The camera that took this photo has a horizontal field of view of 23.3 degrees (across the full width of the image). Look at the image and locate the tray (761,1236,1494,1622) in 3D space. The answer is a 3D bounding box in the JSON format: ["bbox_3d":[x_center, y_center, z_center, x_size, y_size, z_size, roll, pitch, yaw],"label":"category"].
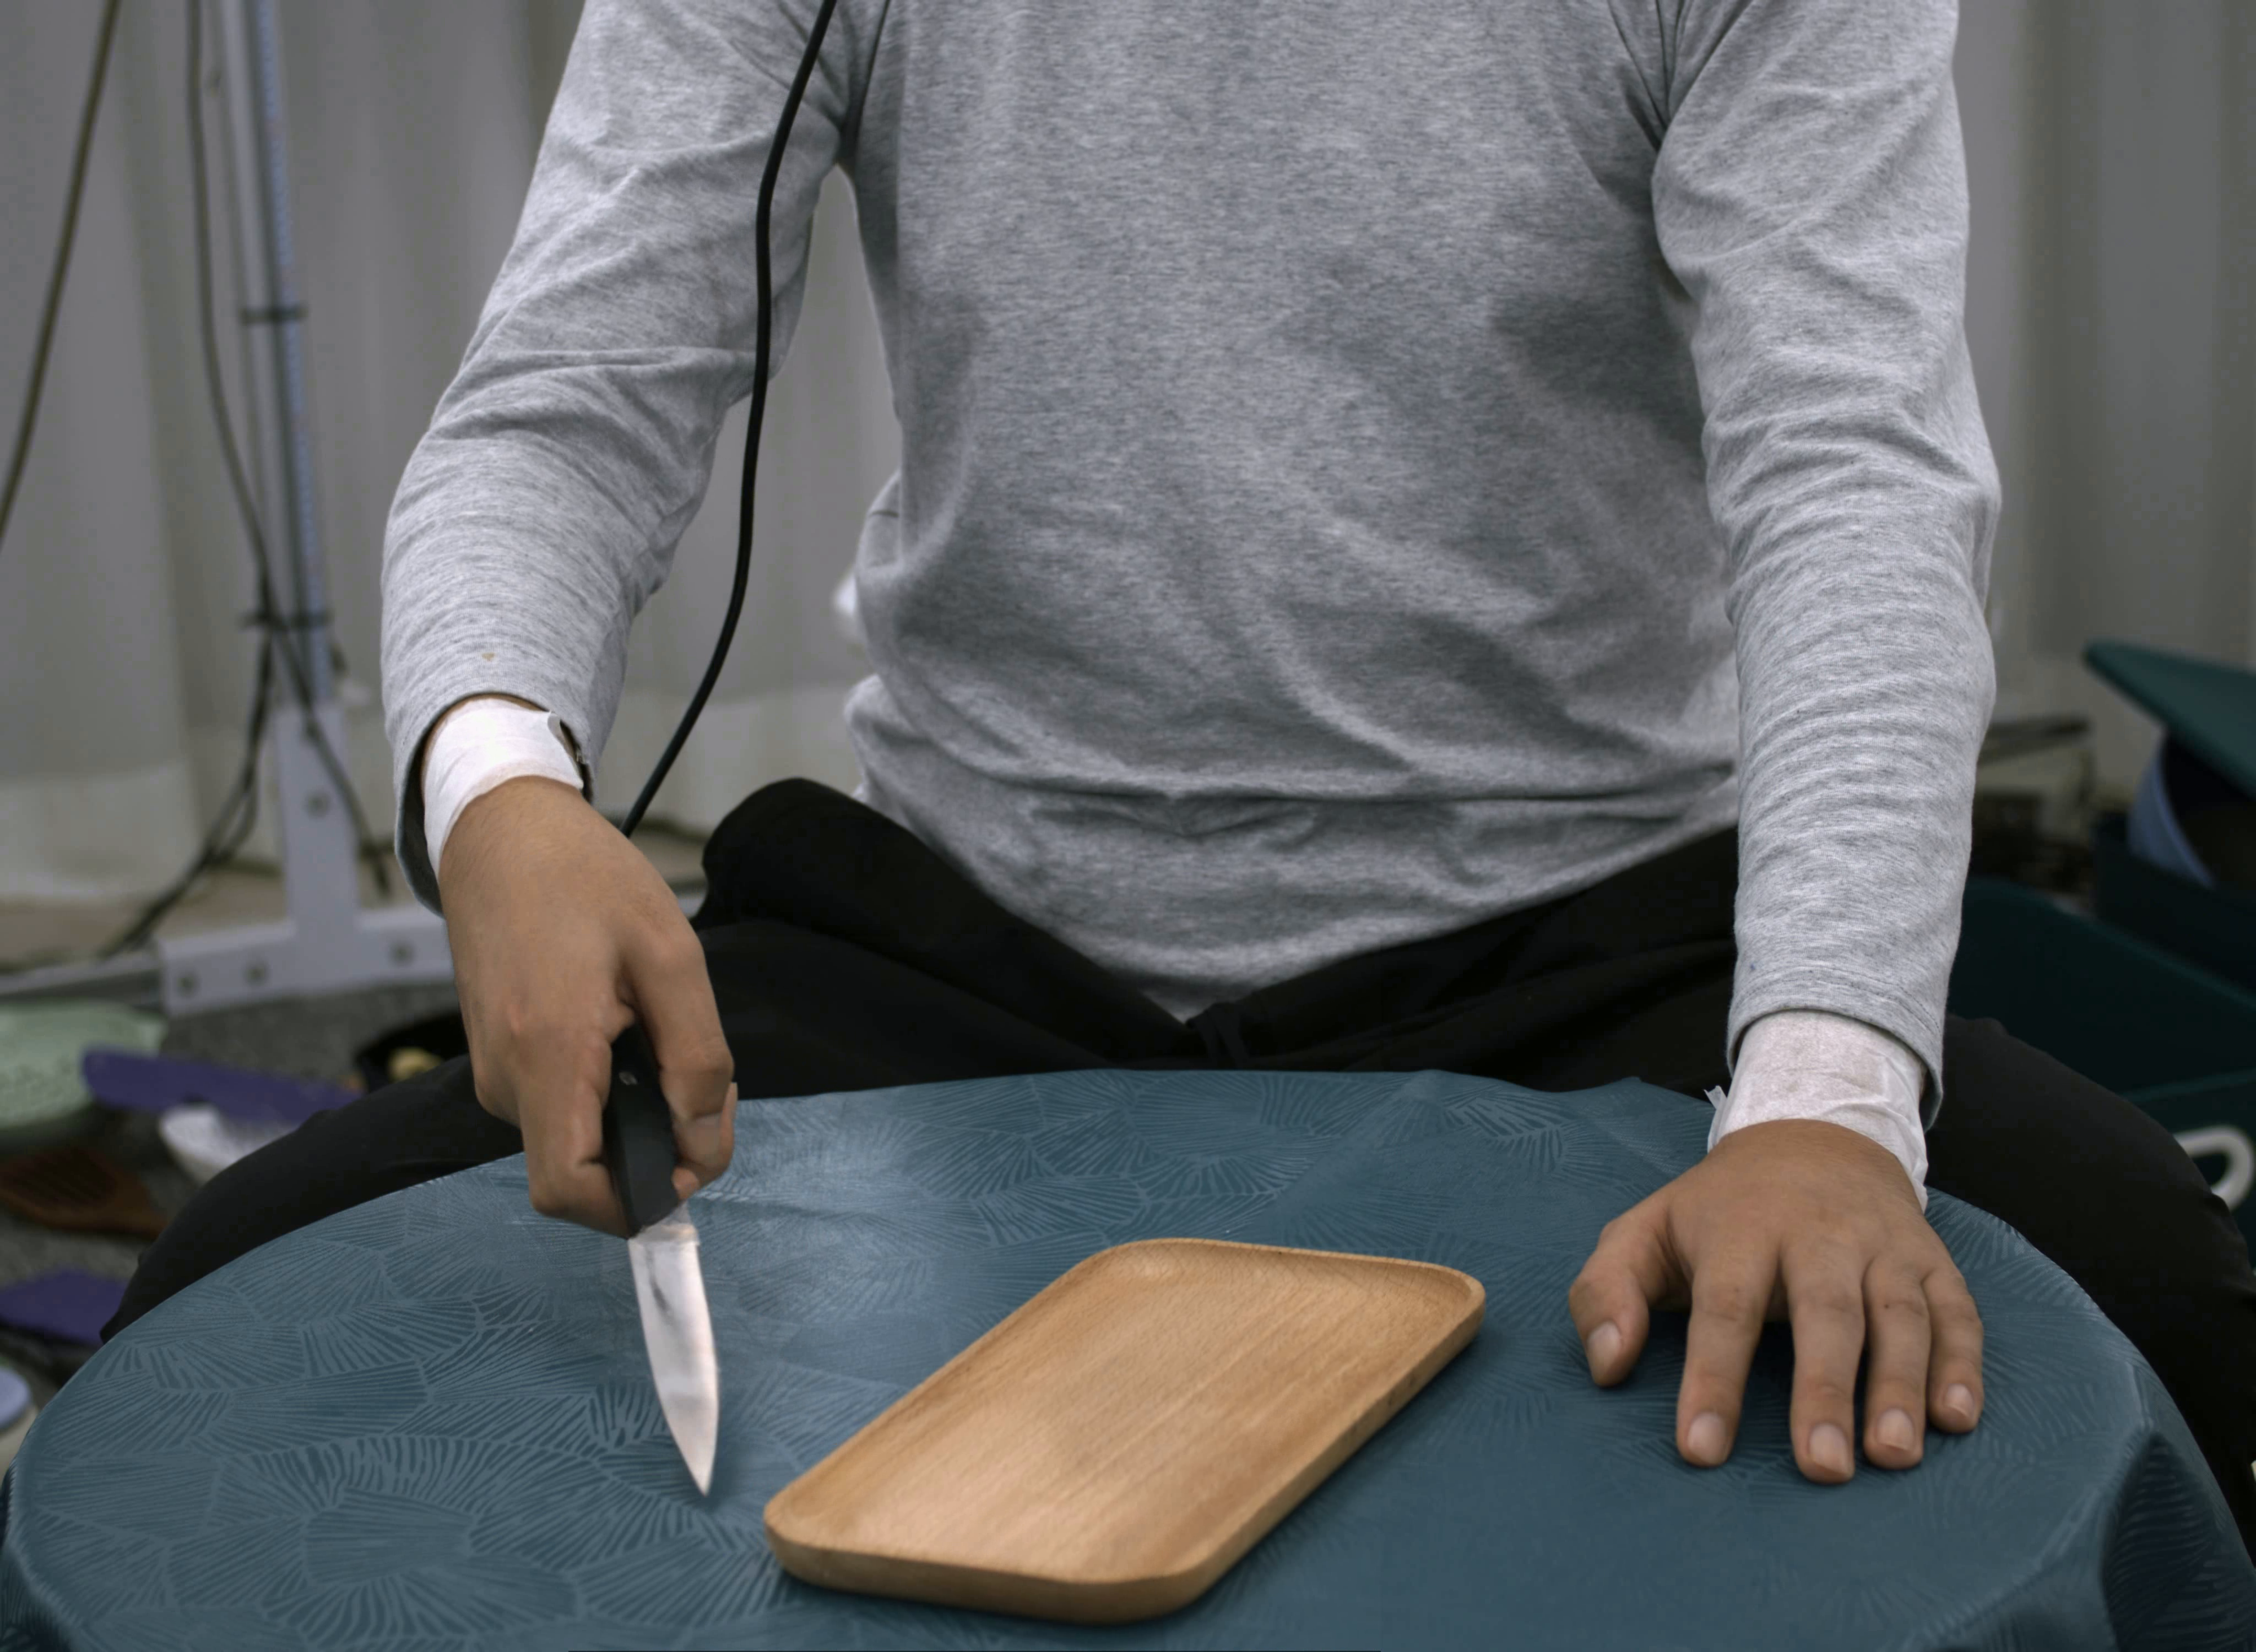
[{"bbox_3d":[0.005,0.163,1.504,0.131,0.023,0.251,7,17,24],"label":"tray"}]

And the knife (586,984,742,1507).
[{"bbox_3d":[-0.134,0.118,1.569,0.024,0.016,0.241,2,32,-15],"label":"knife"}]
